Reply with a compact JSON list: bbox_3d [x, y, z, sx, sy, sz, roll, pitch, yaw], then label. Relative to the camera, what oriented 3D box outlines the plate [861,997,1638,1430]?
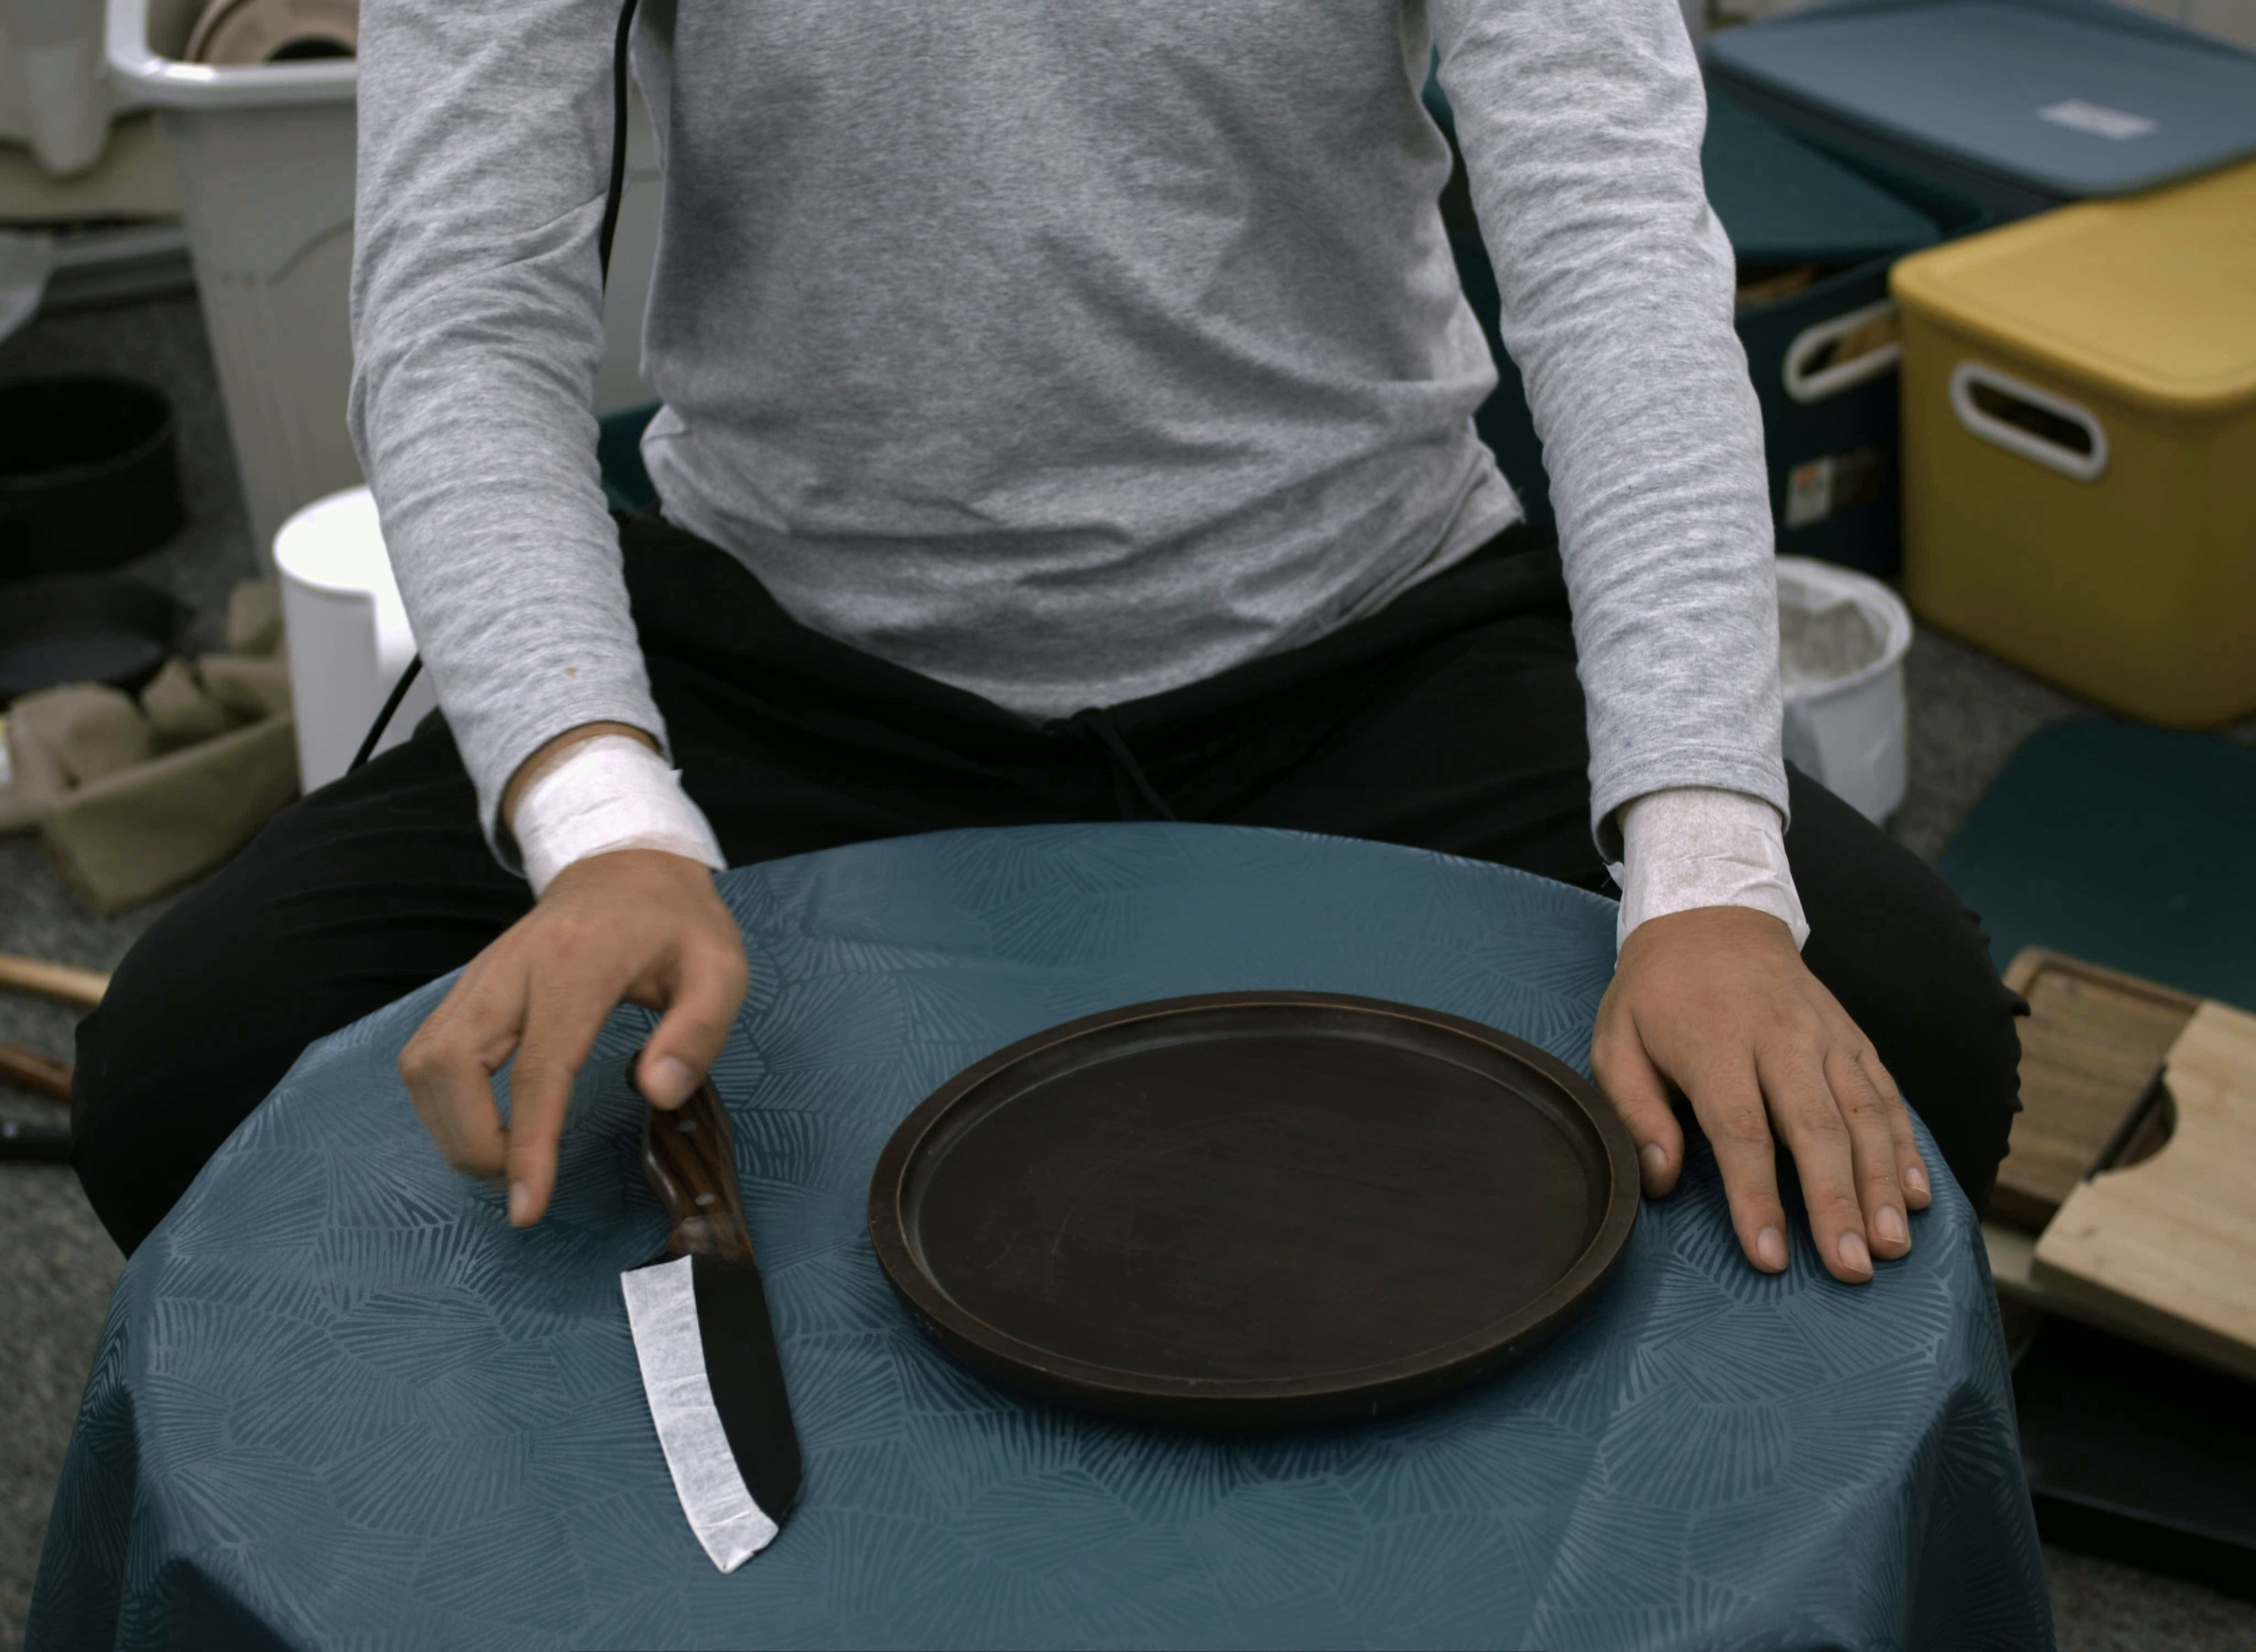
[{"bbox_3d":[0.040,0.124,1.827,0.253,0.029,0.258,-4,26,2],"label":"plate"}]

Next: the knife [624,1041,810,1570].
[{"bbox_3d":[-0.137,0.152,1.800,0.050,0.020,0.293,-11,30,-4],"label":"knife"}]
